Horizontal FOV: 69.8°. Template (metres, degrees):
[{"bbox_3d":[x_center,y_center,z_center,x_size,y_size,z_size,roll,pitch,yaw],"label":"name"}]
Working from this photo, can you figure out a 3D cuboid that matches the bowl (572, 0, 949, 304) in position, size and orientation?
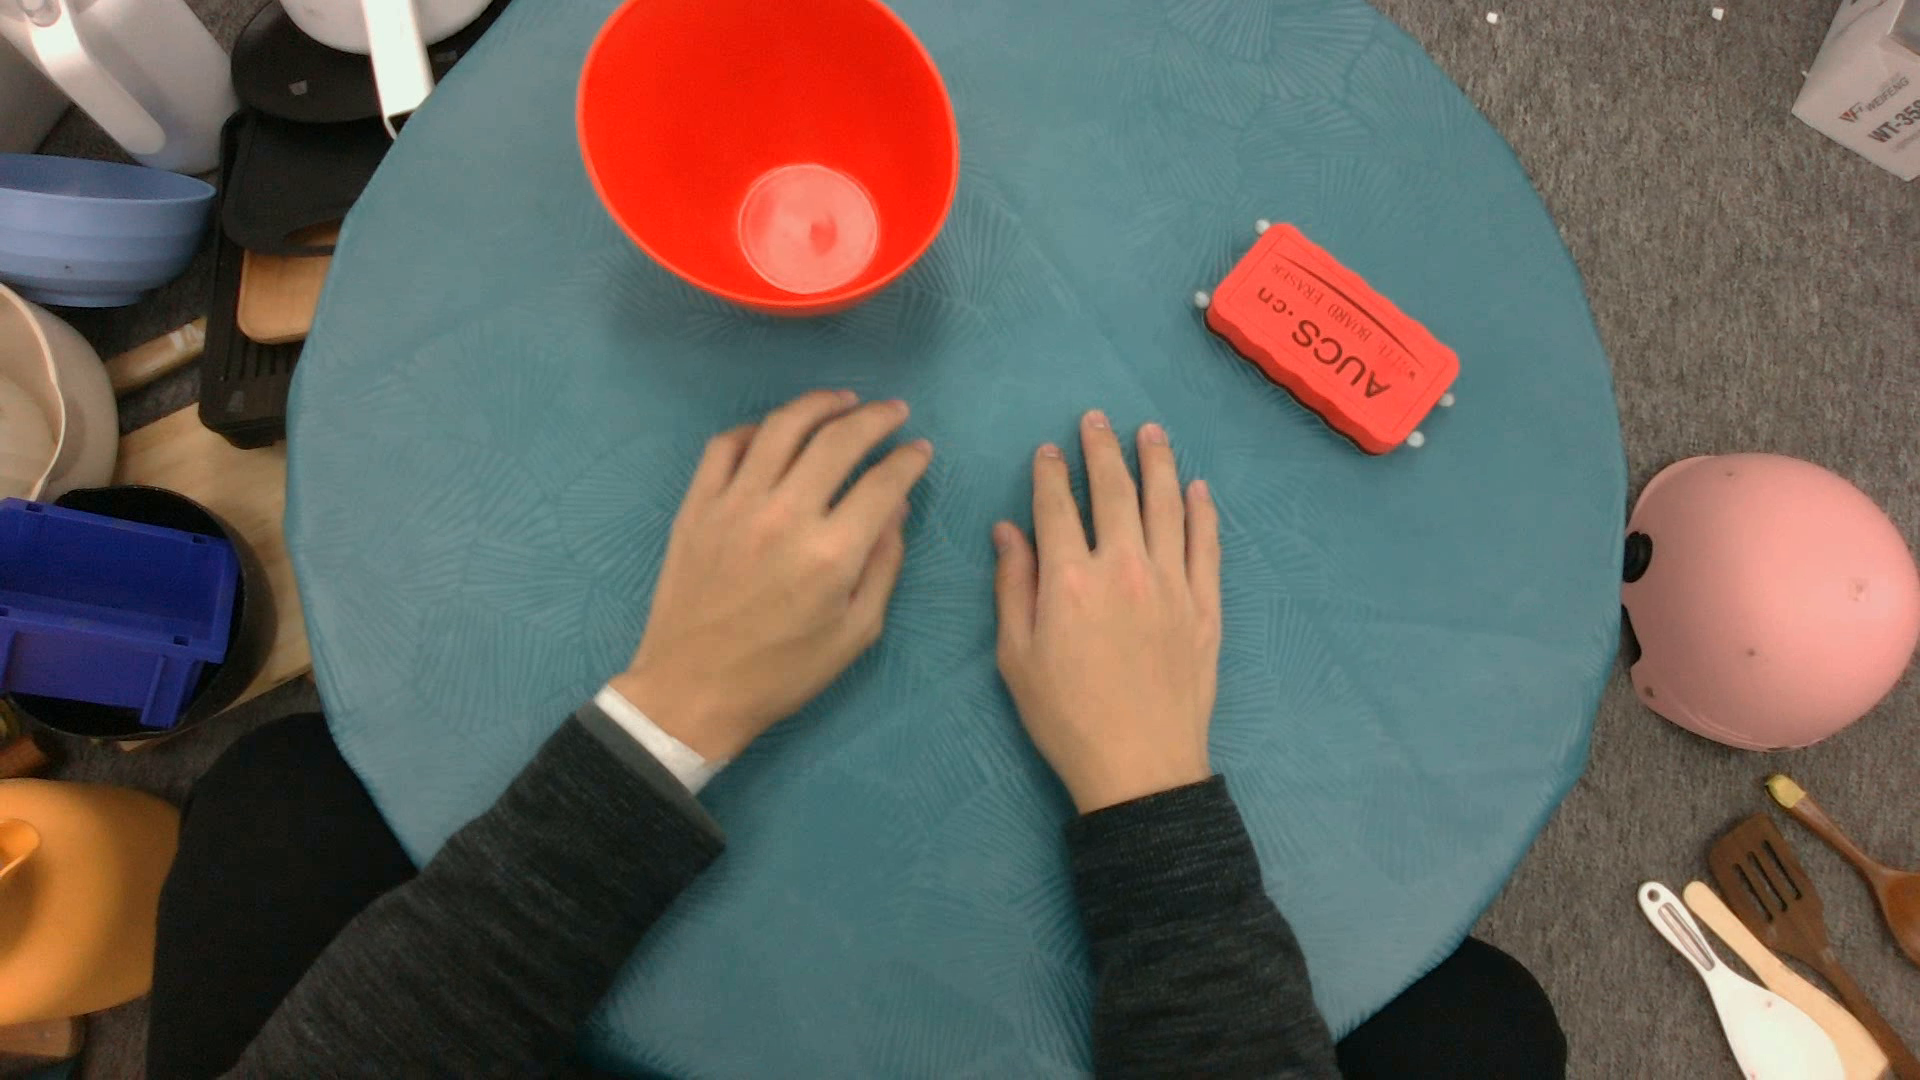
[{"bbox_3d":[-0.080,-0.159,0.586,0.148,0.104,0.148,1,77,-5],"label":"bowl"}]

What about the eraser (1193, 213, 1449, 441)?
[{"bbox_3d":[0.165,-0.098,0.632,0.108,0.023,0.059,39,75,5],"label":"eraser"}]
